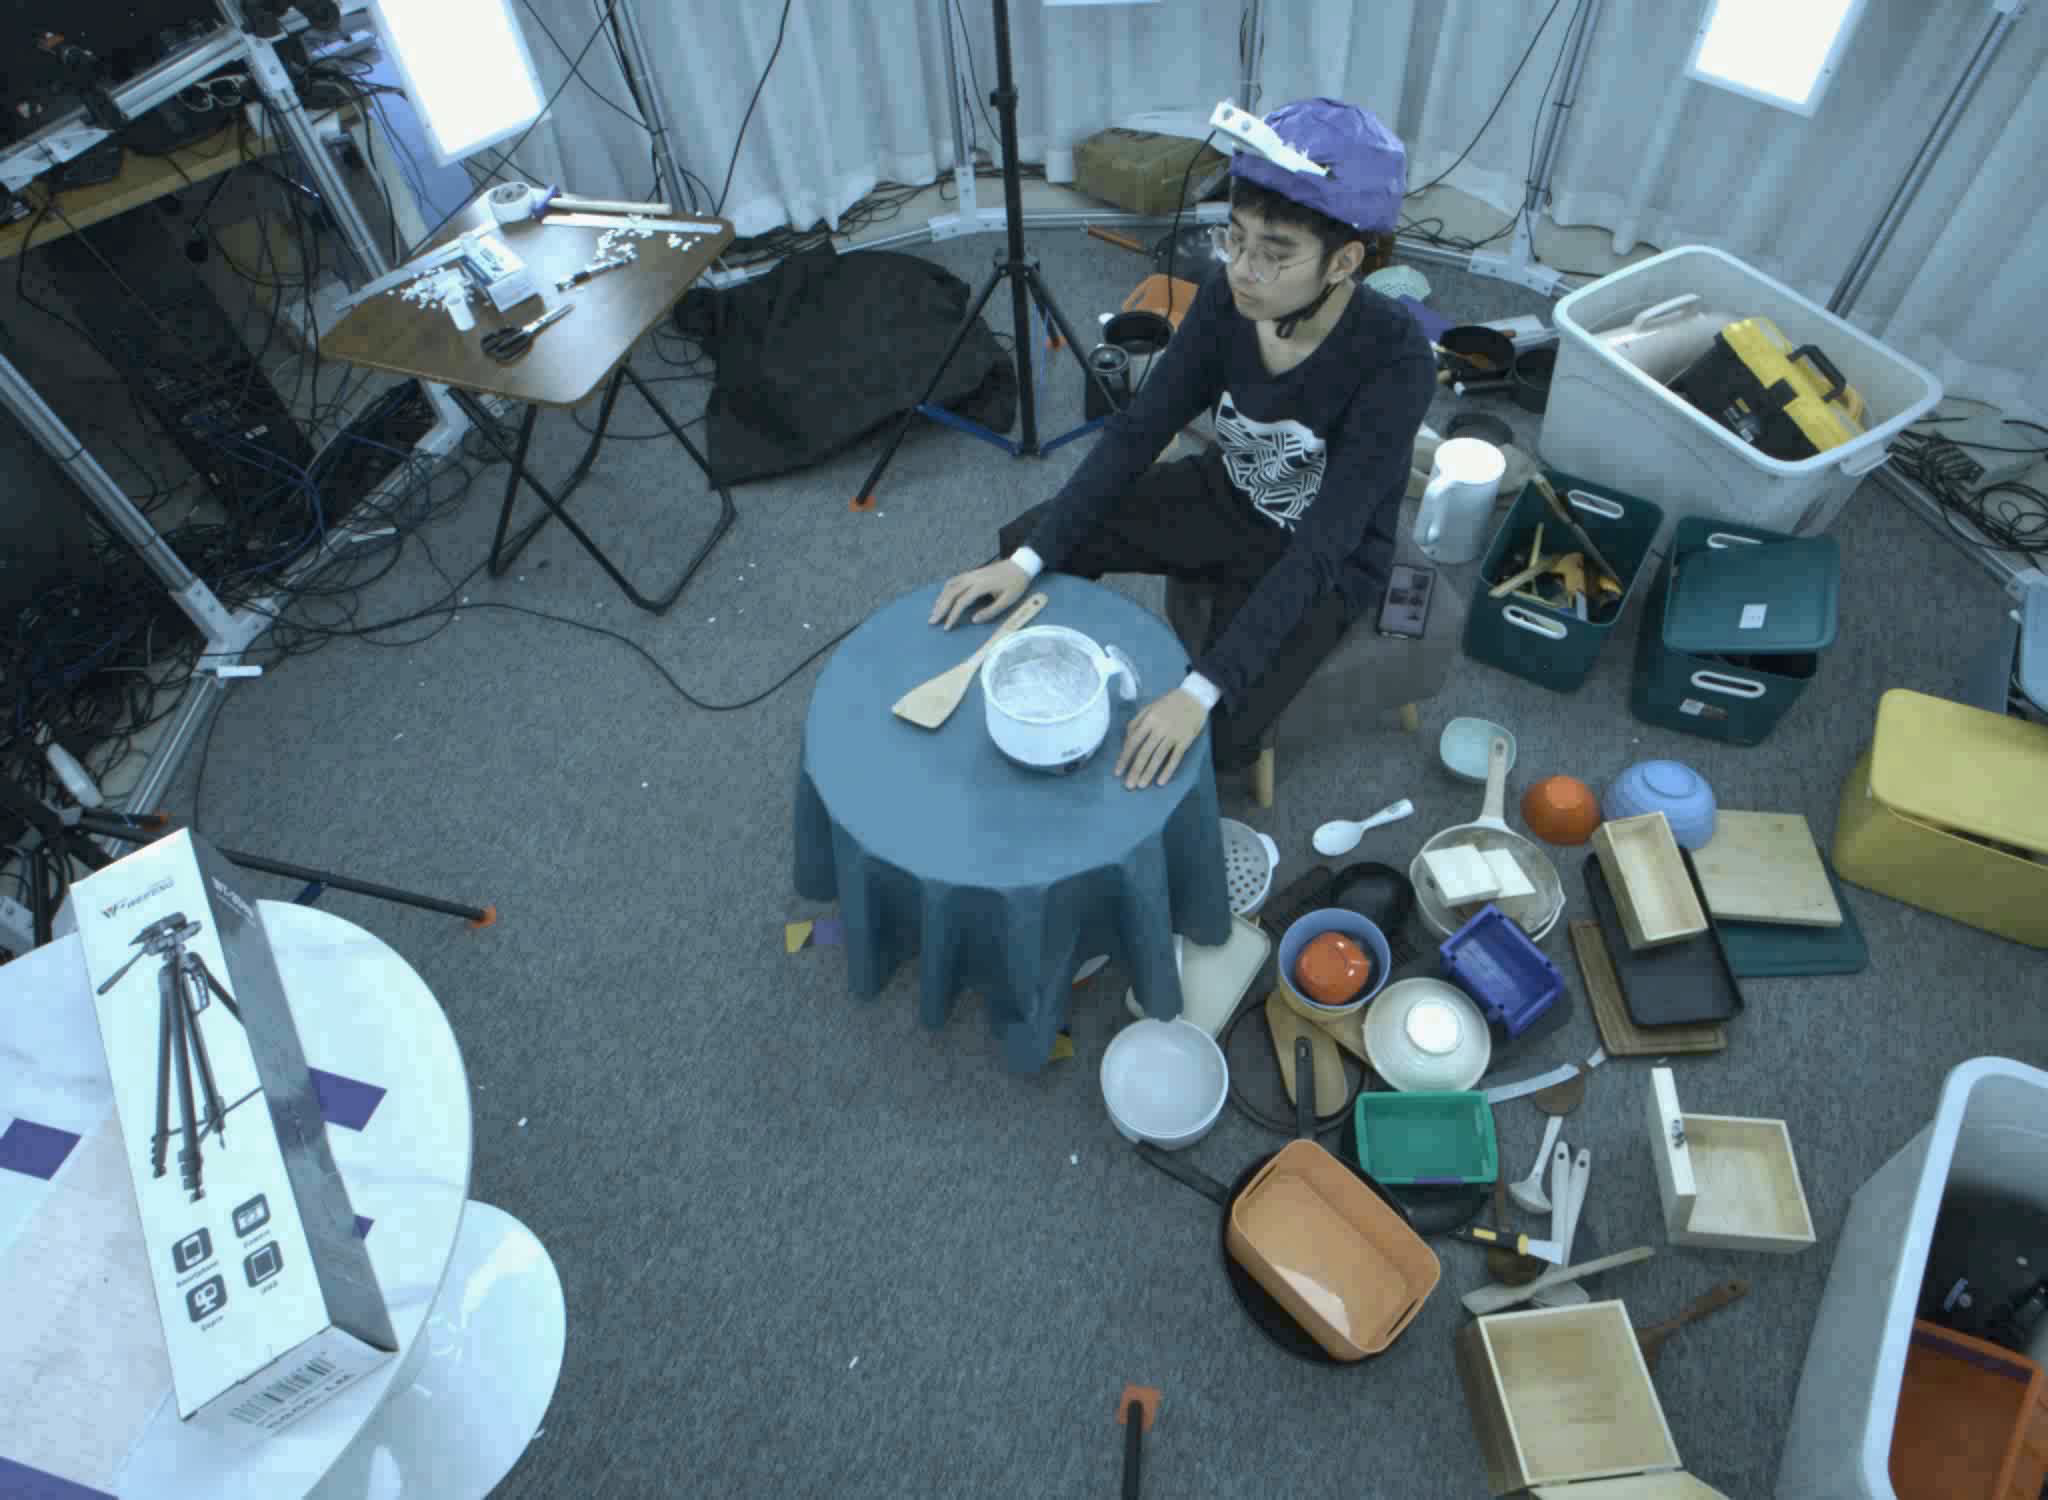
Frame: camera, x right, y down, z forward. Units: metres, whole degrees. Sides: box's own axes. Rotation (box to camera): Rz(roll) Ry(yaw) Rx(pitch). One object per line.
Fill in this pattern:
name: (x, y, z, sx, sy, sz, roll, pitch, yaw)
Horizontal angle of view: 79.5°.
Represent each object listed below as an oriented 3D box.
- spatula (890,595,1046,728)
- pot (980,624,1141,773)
spatula: (-0.071, -0.143, 1.890, 0.078, 0.017, 0.329, 33, 61, 21)
pot: (0.057, -0.082, 1.765, 0.235, 0.138, 0.175, -22, 57, -12)
